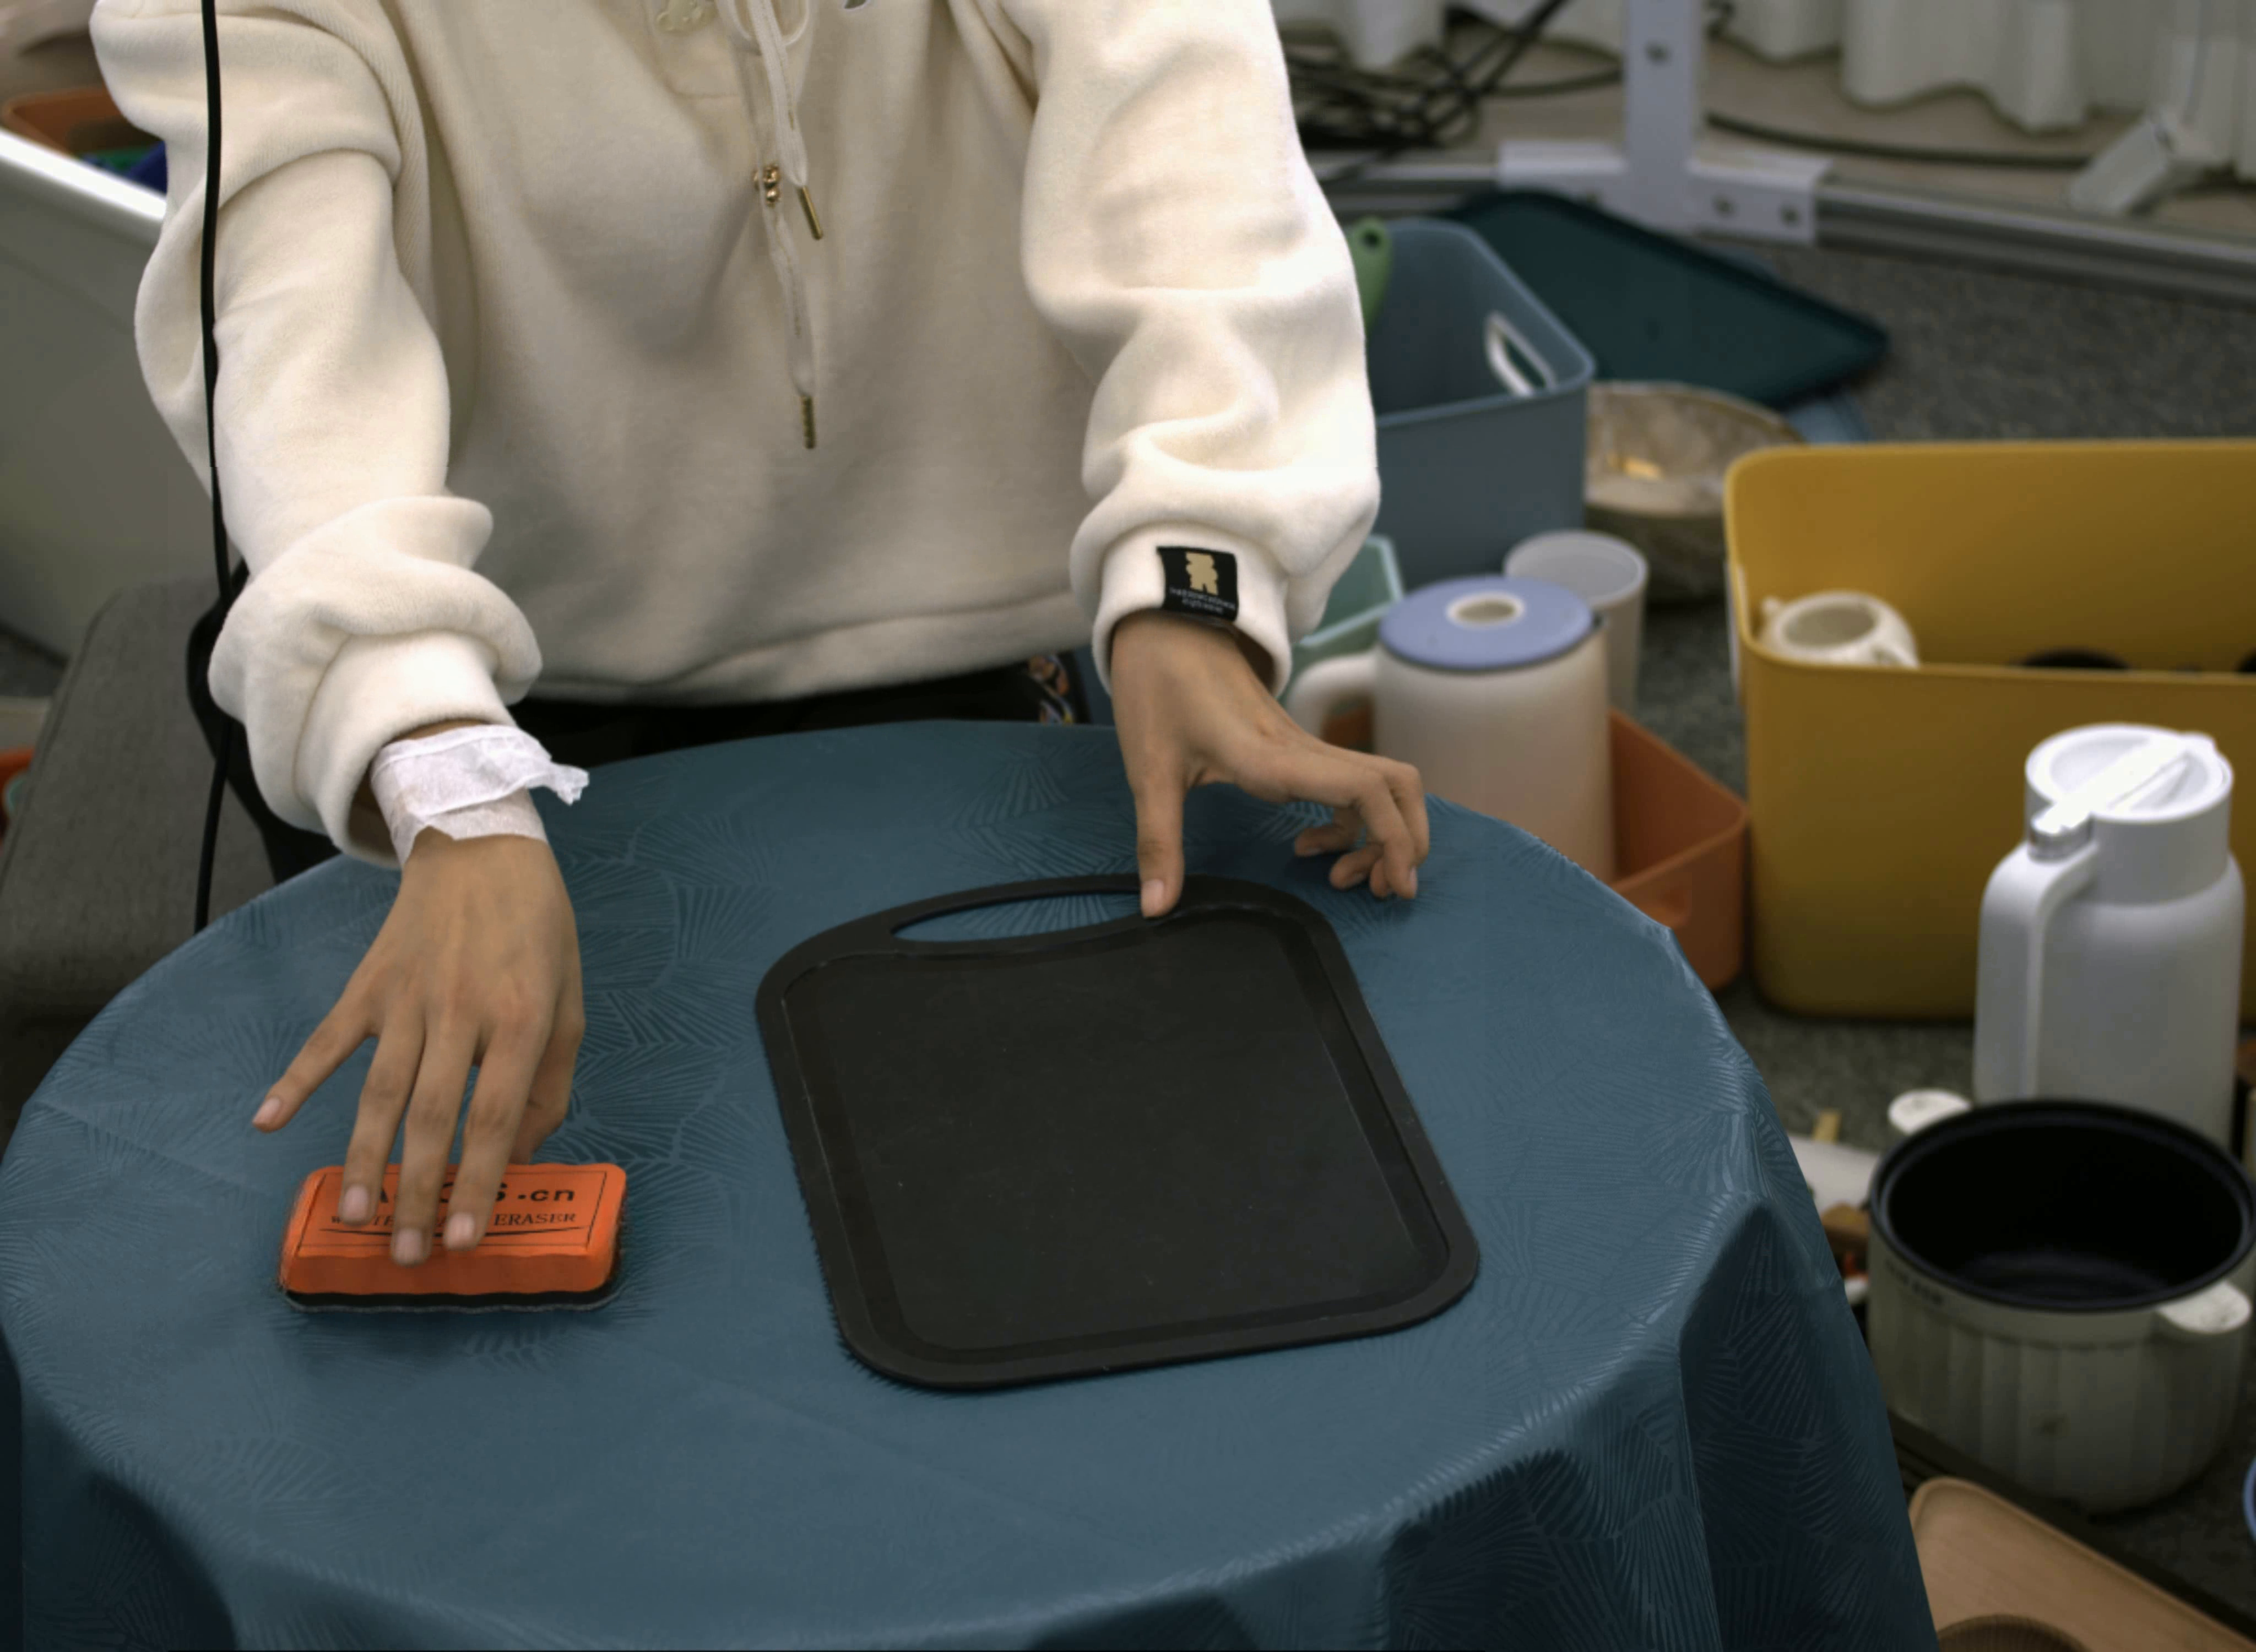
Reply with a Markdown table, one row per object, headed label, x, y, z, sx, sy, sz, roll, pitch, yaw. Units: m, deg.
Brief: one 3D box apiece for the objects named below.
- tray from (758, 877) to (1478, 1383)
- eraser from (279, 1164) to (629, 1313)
| label | x | y | z | sx | sy | sz | roll | pitch | yaw |
| --- | --- | --- | --- | --- | --- | --- | --- | --- | --- |
| tray | -0.012 | 0.094 | 1.909 | 0.211 | 0.009 | 0.329 | -7 | 27 | -8 |
| eraser | -0.219 | 0.135 | 1.831 | 0.107 | 0.022 | 0.060 | 0 | 28 | 4 |
